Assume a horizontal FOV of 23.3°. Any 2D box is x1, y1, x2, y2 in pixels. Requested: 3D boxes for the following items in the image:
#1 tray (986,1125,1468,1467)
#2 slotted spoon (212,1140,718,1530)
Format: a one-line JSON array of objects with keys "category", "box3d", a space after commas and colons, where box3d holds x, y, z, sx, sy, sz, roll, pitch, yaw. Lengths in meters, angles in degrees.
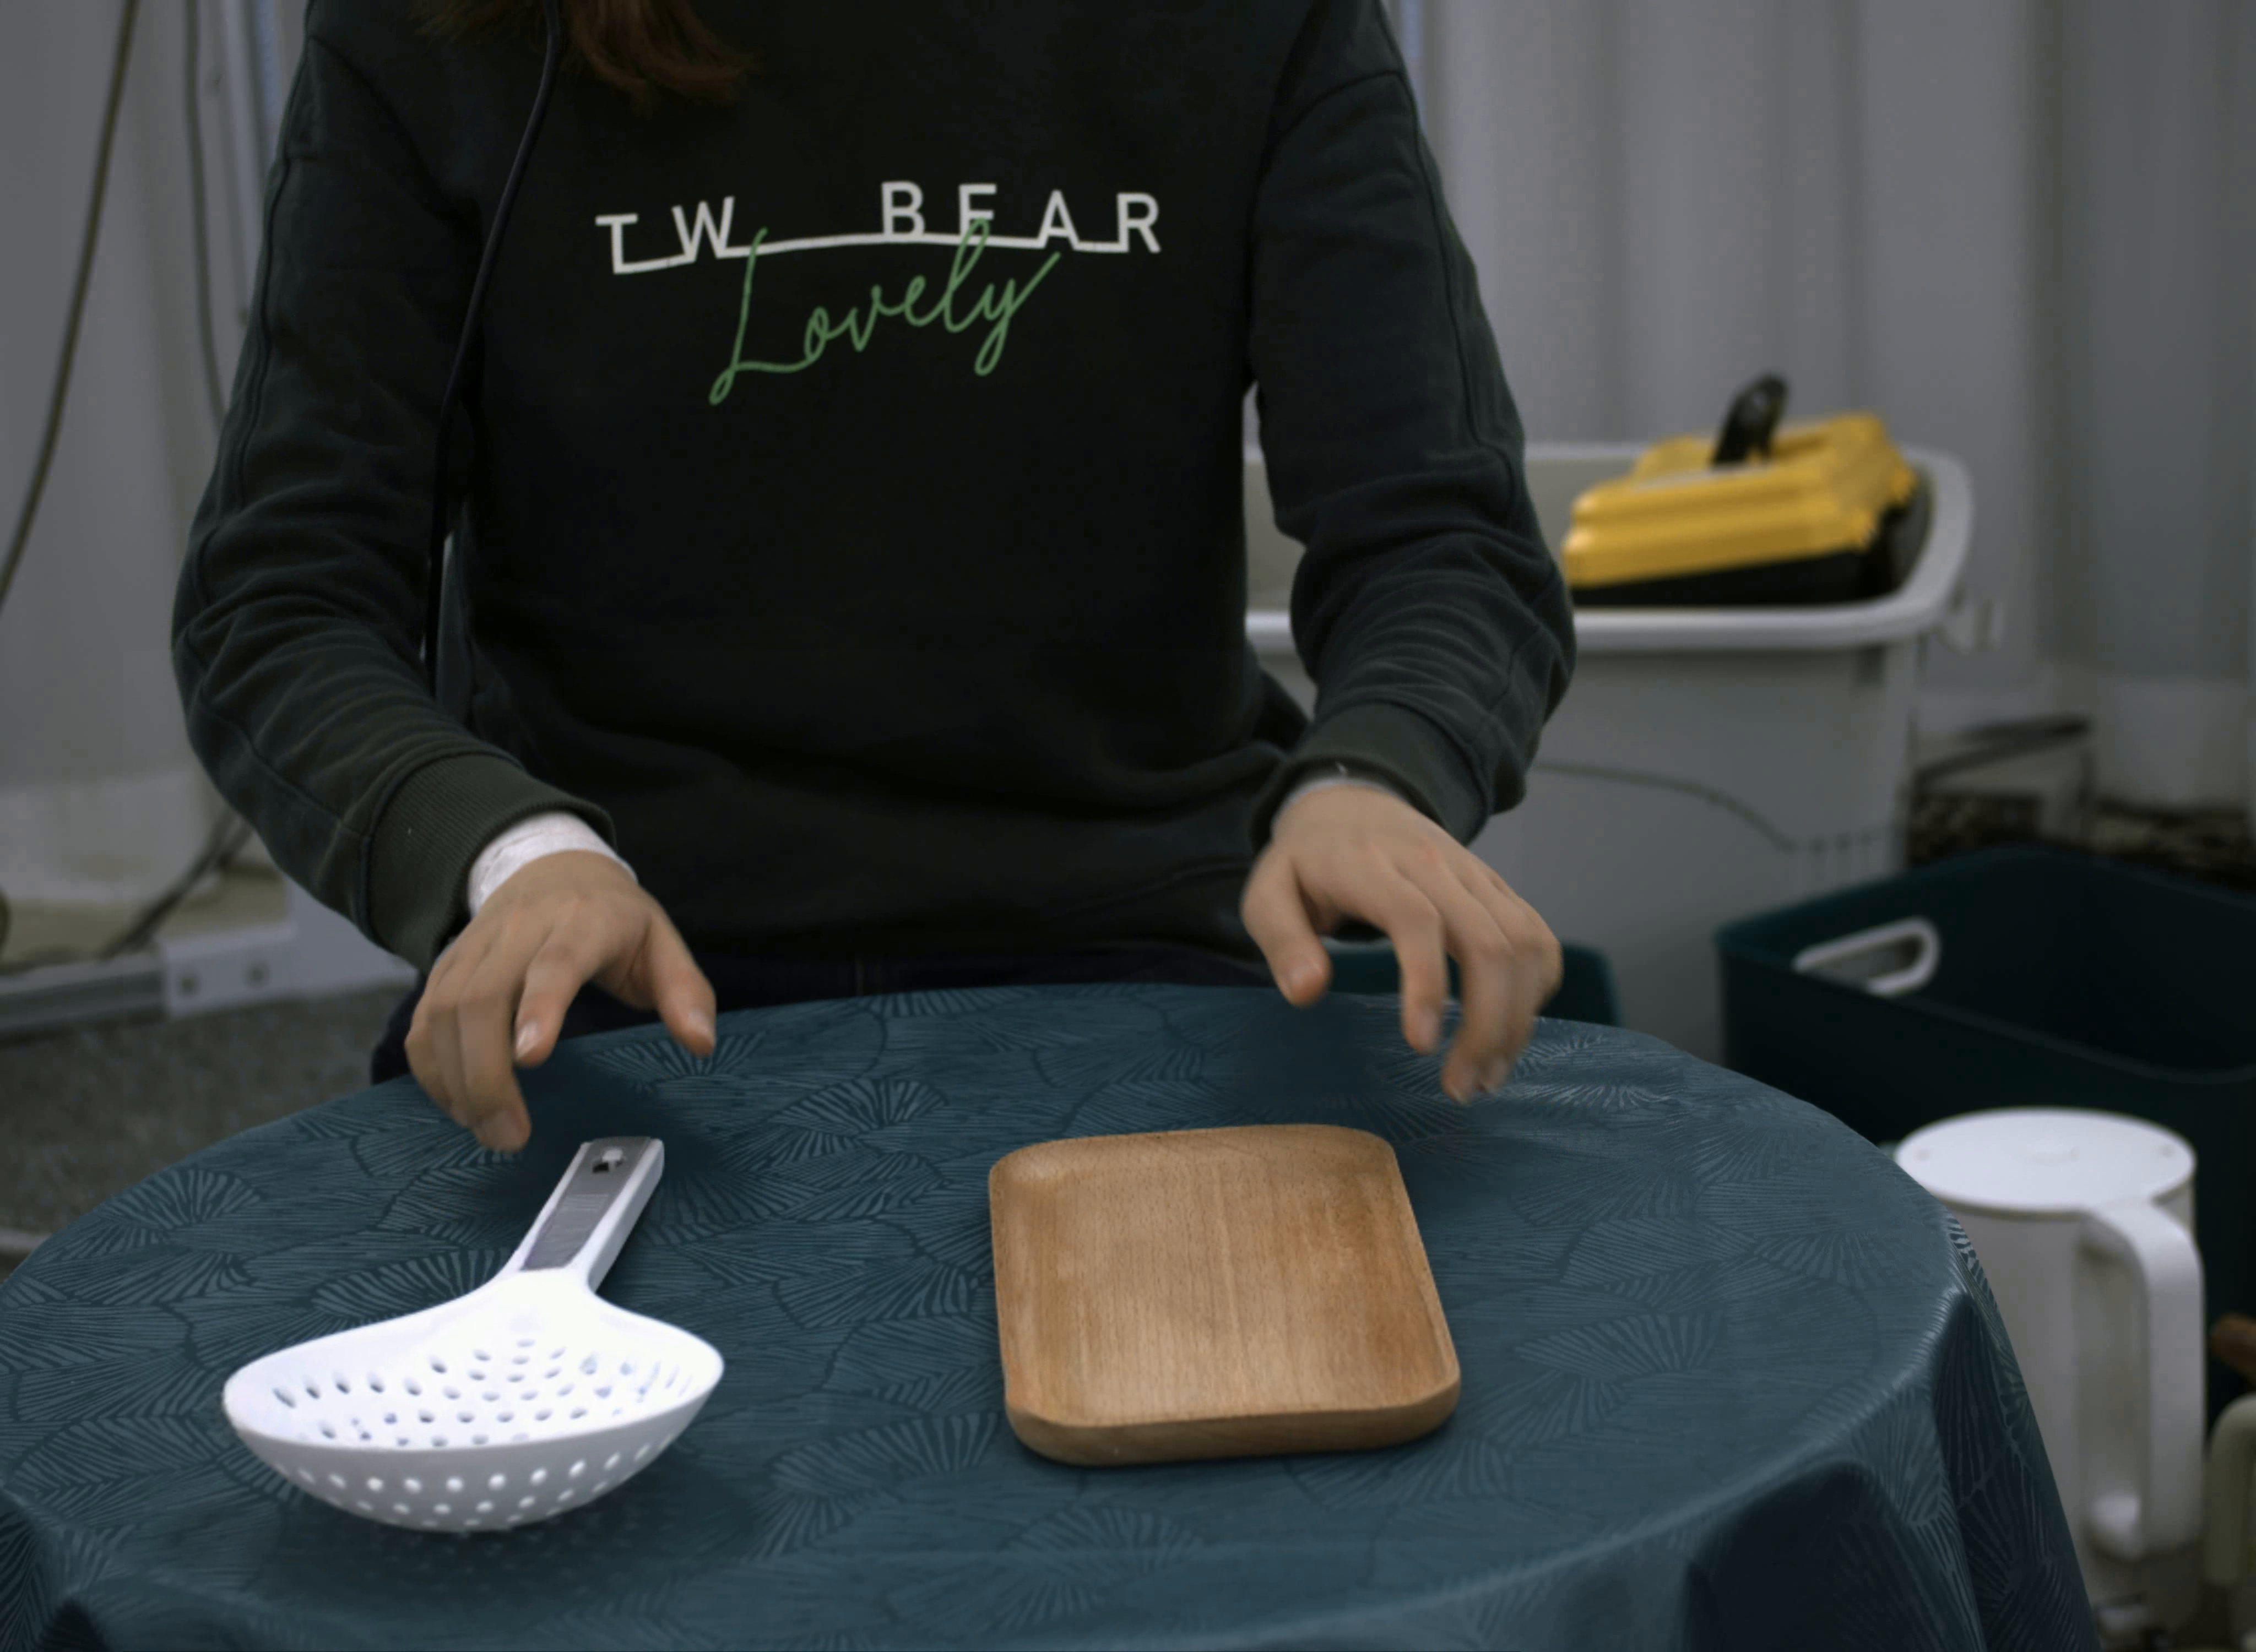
[{"category": "tray", "box3d": [0.025, 0.135, 1.603, 0.130, 0.023, 0.252, -2, 14, -2]}, {"category": "slotted spoon", "box3d": [-0.171, 0.137, 1.575, 0.135, 0.045, 0.352, -1, 14, 4]}]
